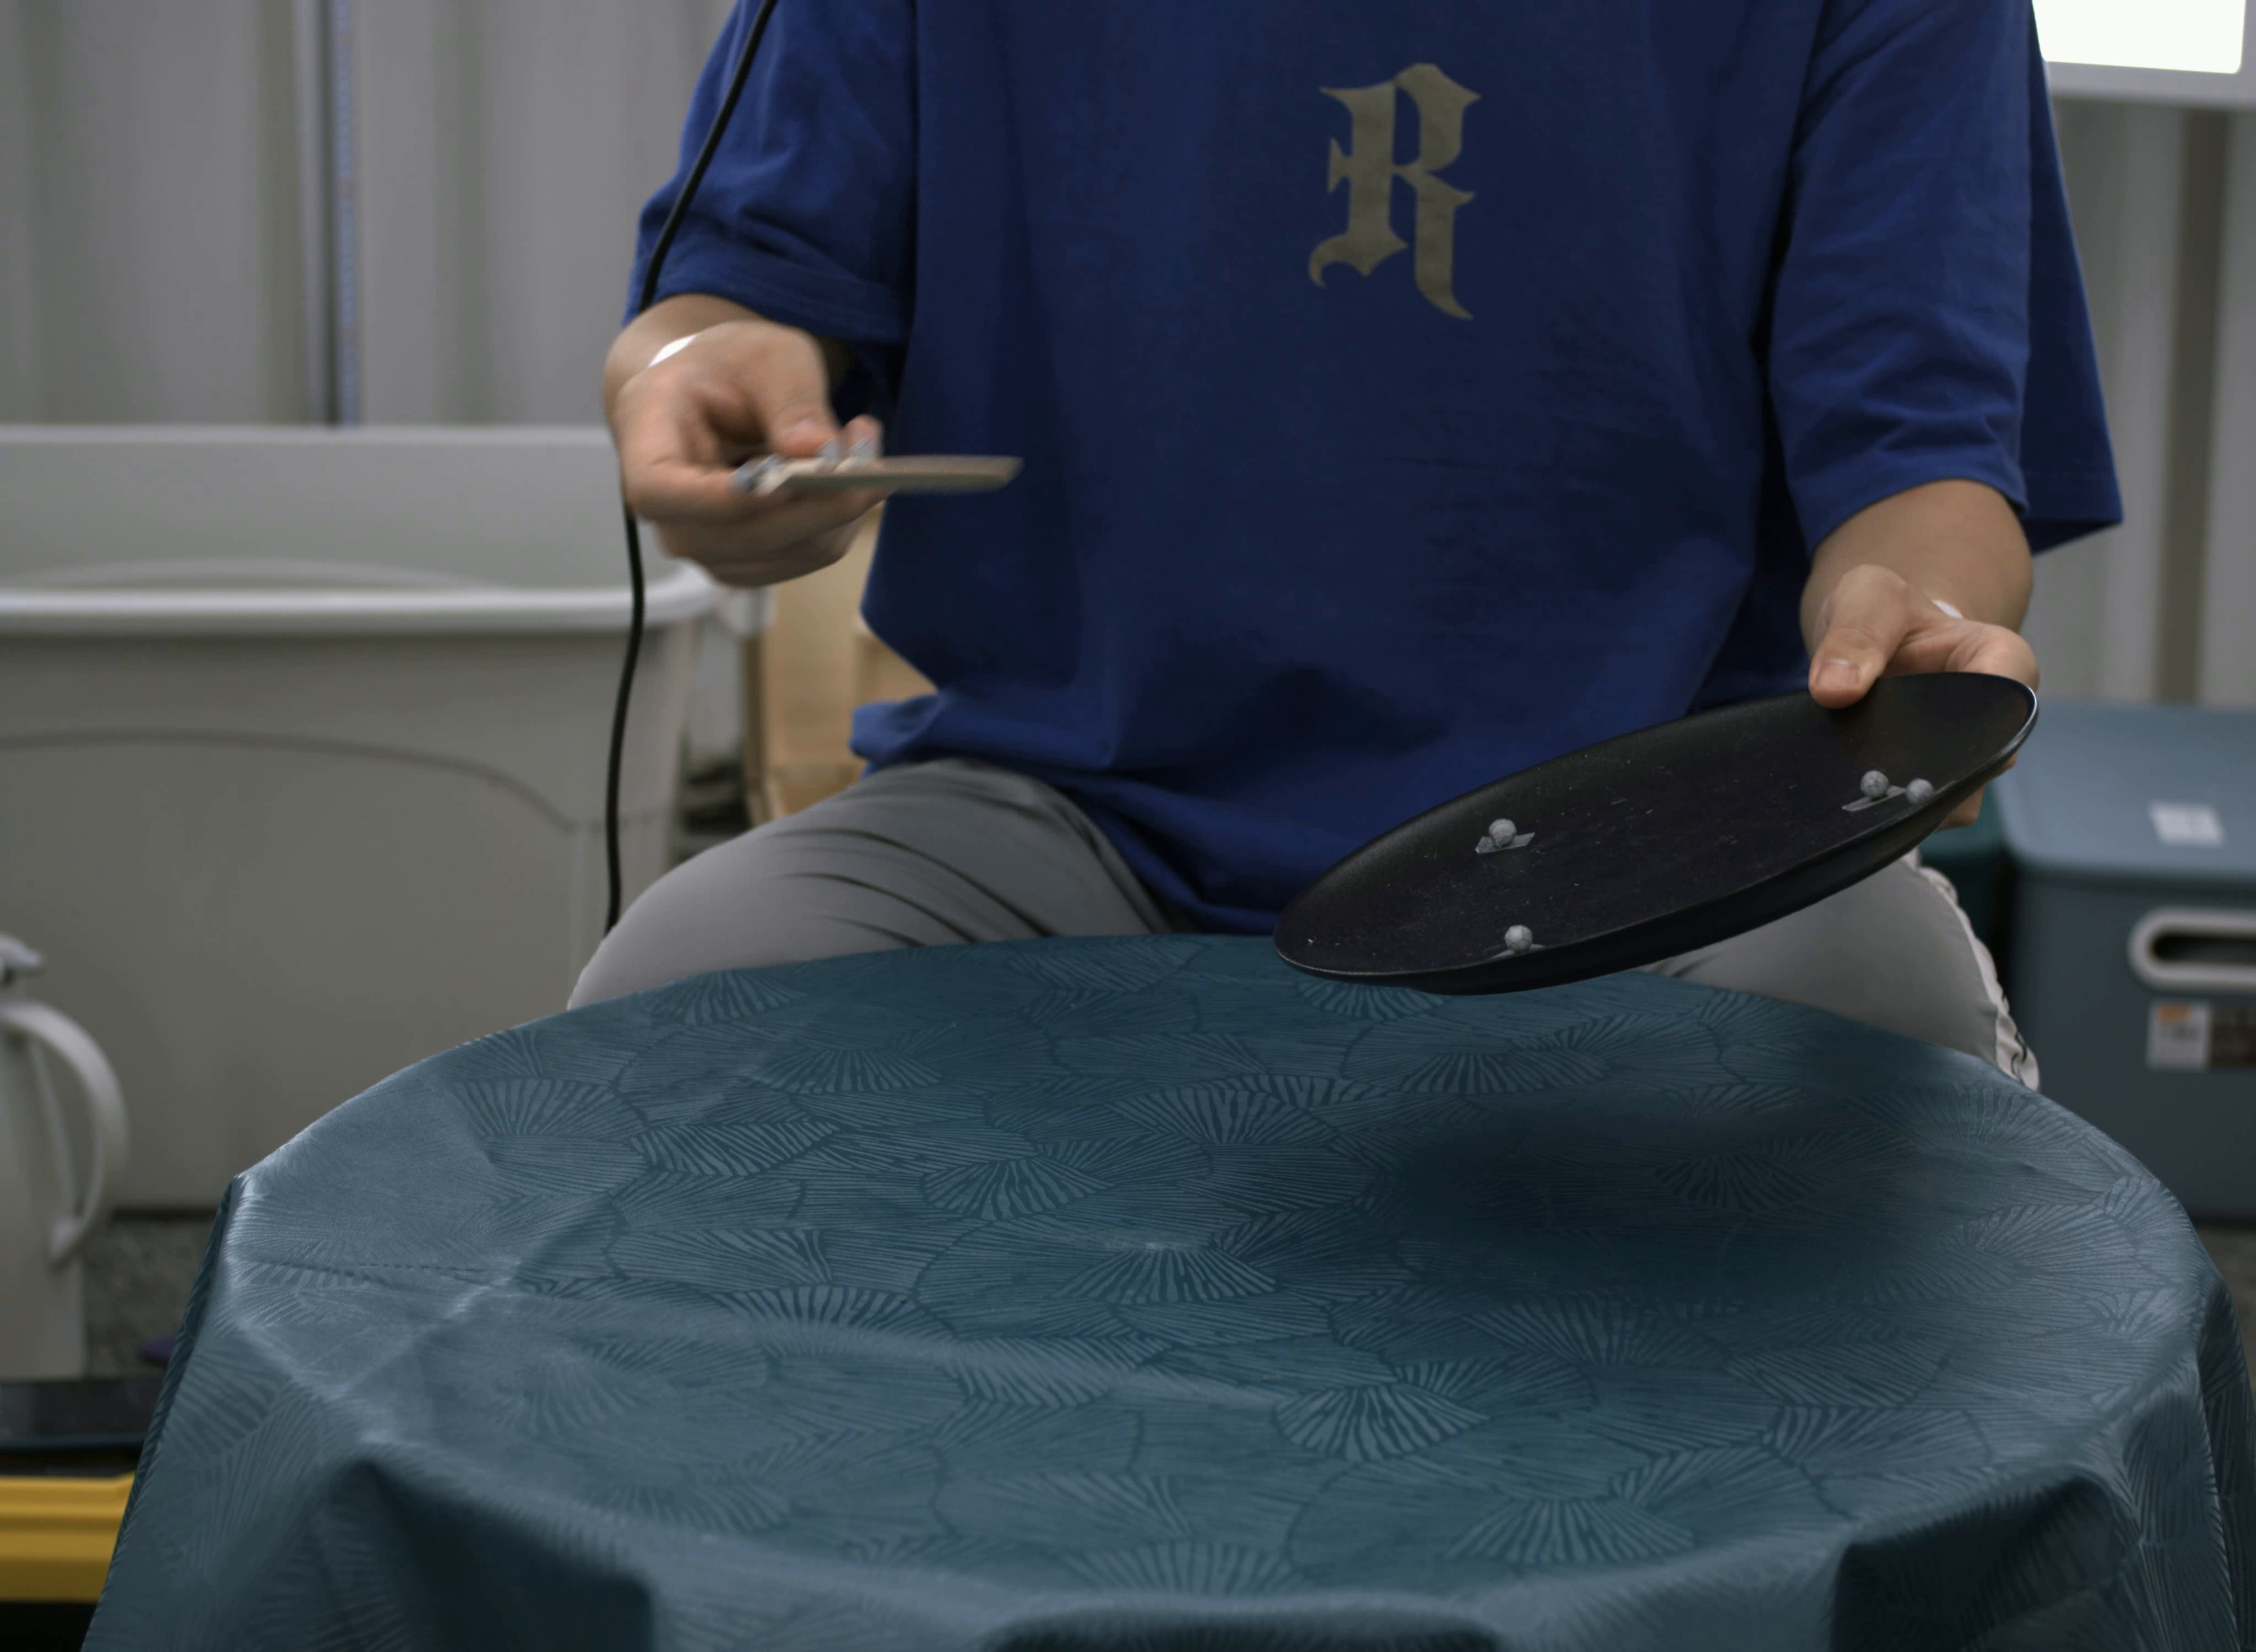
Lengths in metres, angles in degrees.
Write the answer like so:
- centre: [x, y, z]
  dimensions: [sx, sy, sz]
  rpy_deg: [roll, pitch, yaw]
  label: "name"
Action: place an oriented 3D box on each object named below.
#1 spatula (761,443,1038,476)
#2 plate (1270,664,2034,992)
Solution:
- centre: [-0.088, -0.117, 1.673]
  dimensions: [0.072, 0.011, 0.291]
  rpy_deg: [-2, 5, -11]
  label: "spatula"
- centre: [0.161, 0.005, 1.605]
  dimensions: [0.243, 0.023, 0.243]
  rpy_deg: [-18, 12, 5]
  label: "plate"
